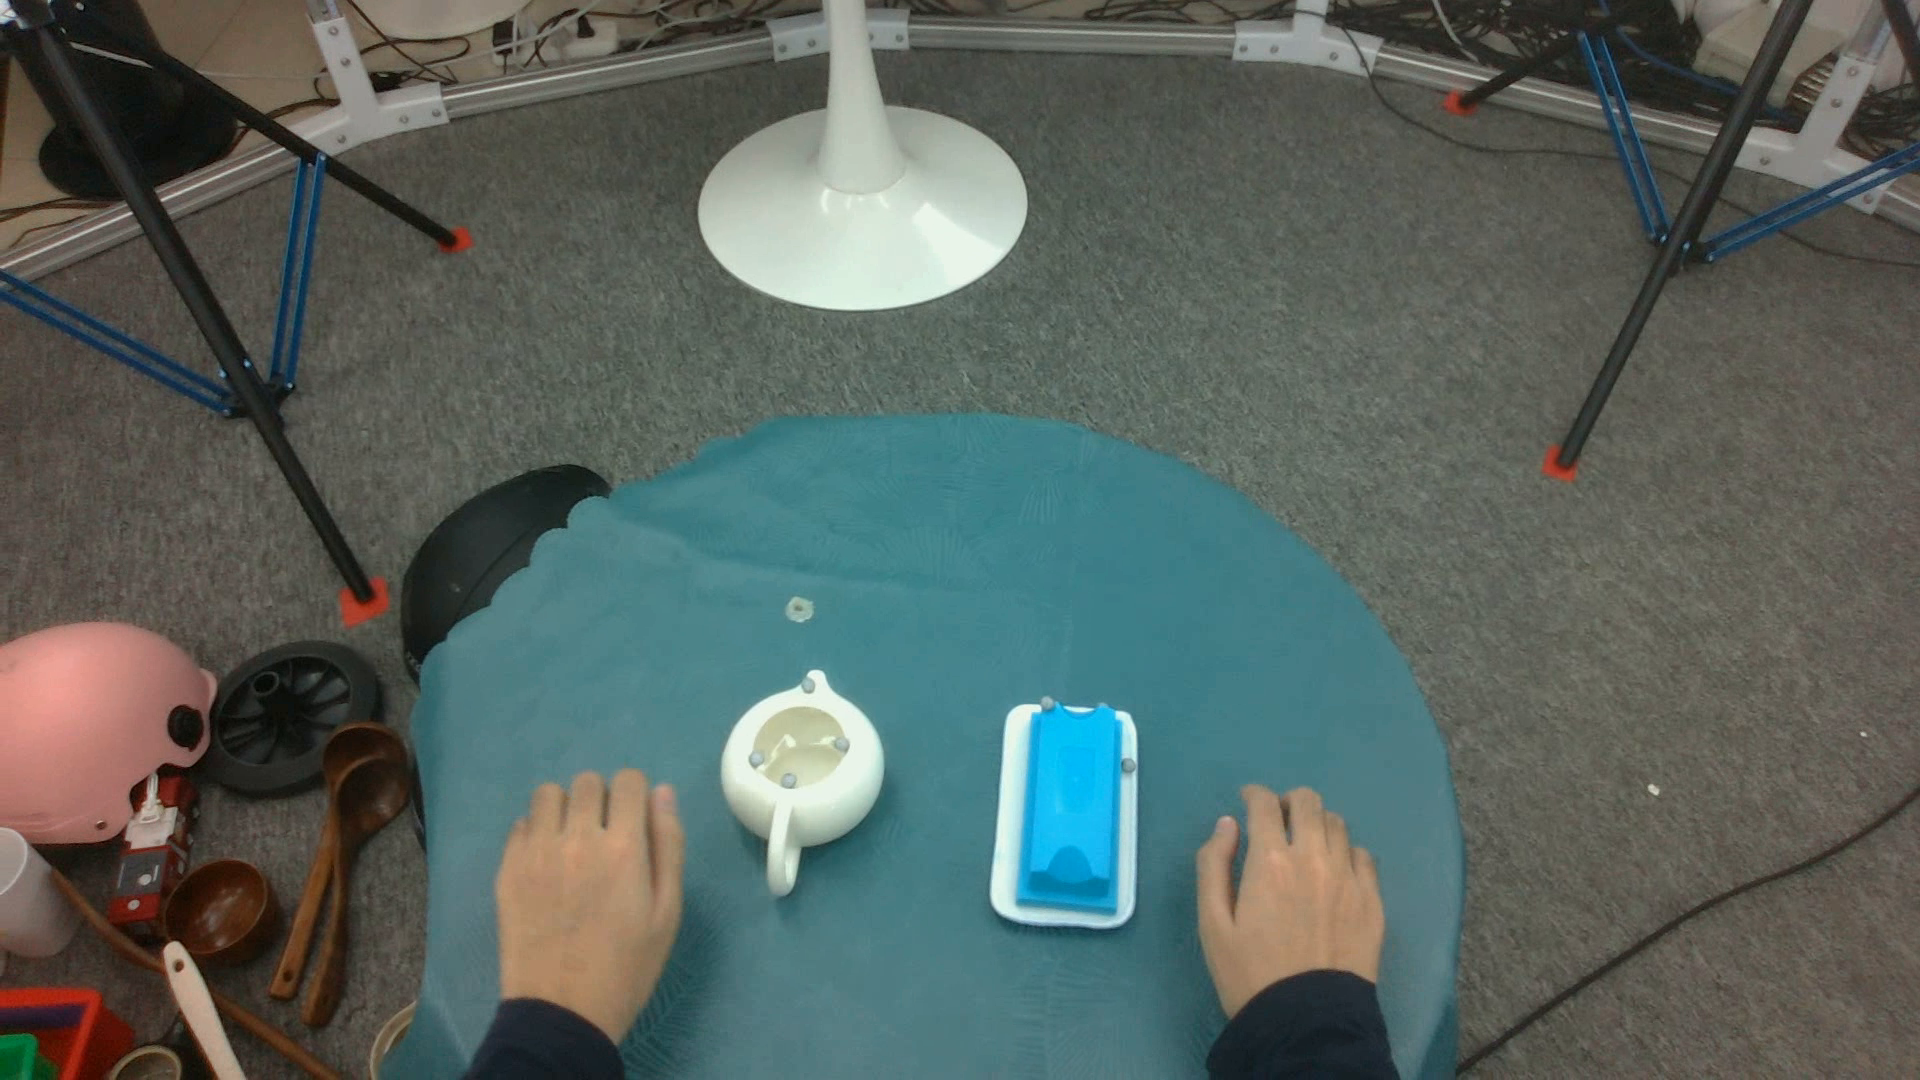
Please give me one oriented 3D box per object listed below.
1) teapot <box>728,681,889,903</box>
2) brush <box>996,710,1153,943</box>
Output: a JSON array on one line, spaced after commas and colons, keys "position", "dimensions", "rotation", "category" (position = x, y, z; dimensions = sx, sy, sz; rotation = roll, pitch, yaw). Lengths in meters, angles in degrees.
[{"position": [-0.089, 0.146, 0.797], "dimensions": [0.093, 0.056, 0.128], "rotation": [3, 51, 0], "category": "teapot"}, {"position": [0.067, 0.154, 0.783], "dimensions": [0.084, 0.055, 0.144], "rotation": [4, 47, 8], "category": "brush"}]
